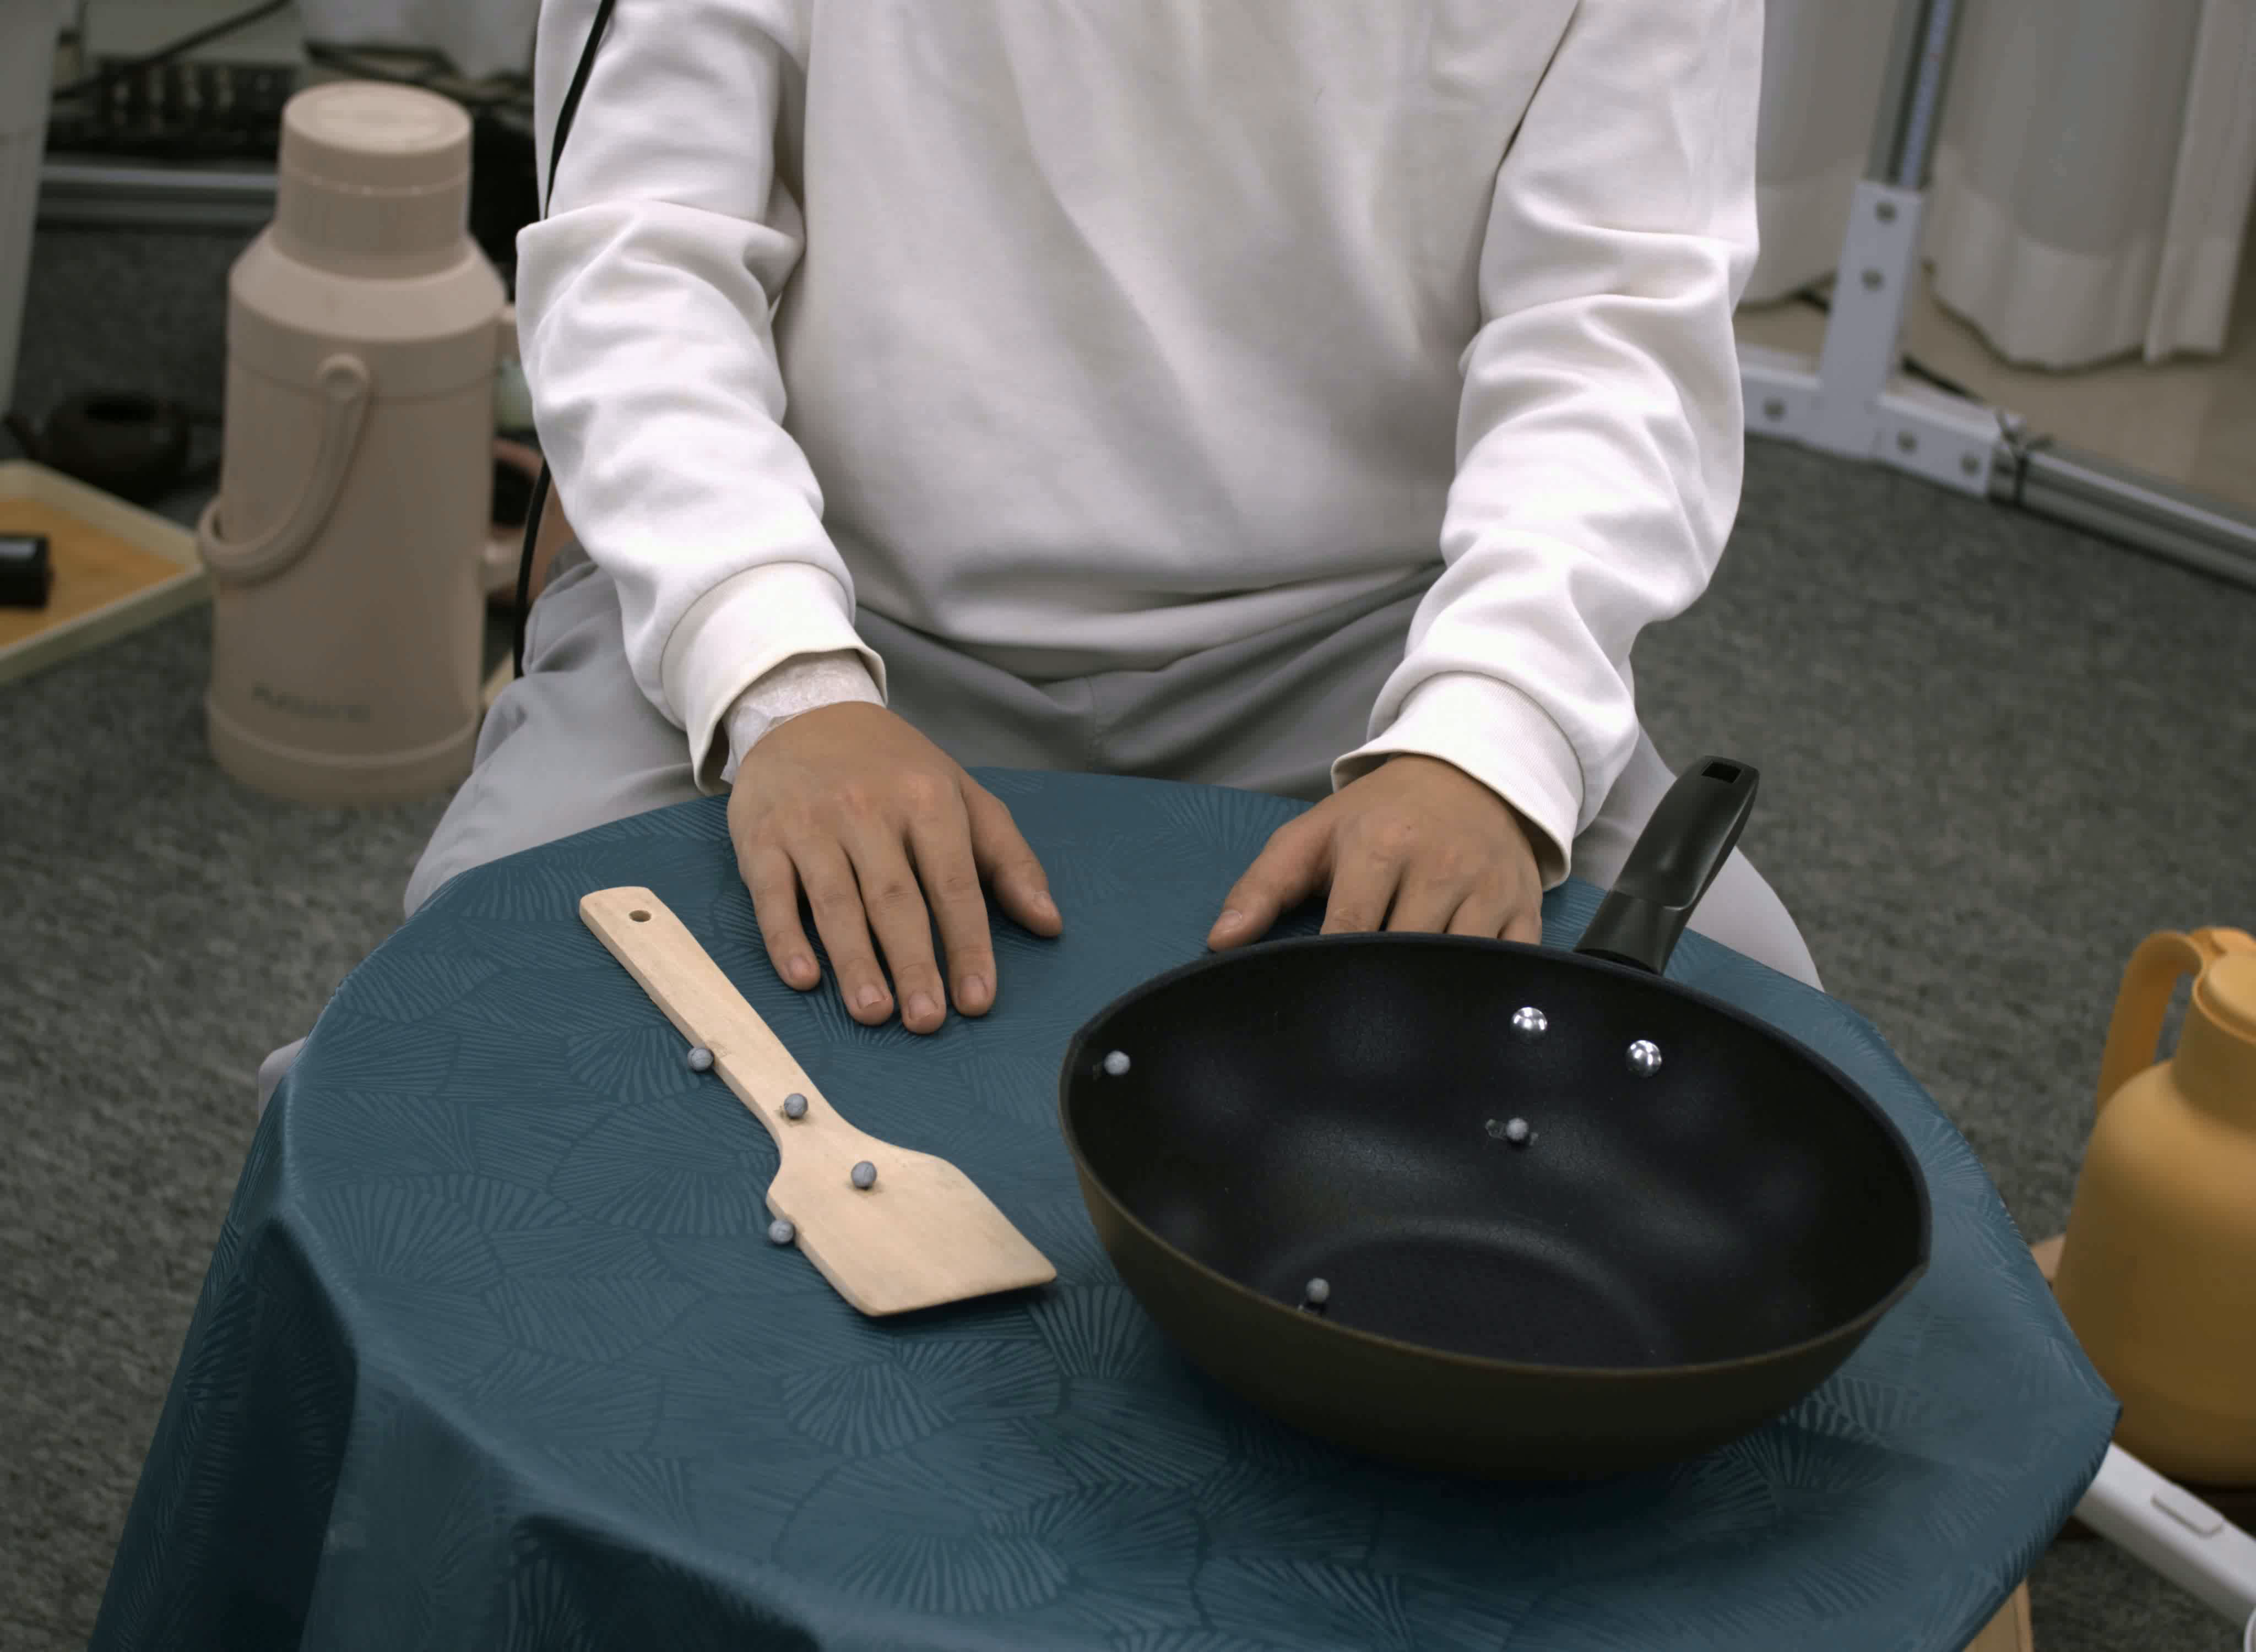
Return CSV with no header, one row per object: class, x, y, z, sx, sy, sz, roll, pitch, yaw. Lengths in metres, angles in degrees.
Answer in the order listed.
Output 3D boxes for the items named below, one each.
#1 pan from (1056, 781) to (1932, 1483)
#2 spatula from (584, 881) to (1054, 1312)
pan,0.143,0.100,1.797,0.288,0.086,0.463,15,26,15
spatula,-0.122,0.089,1.837,0.072,0.010,0.296,-10,31,-27
